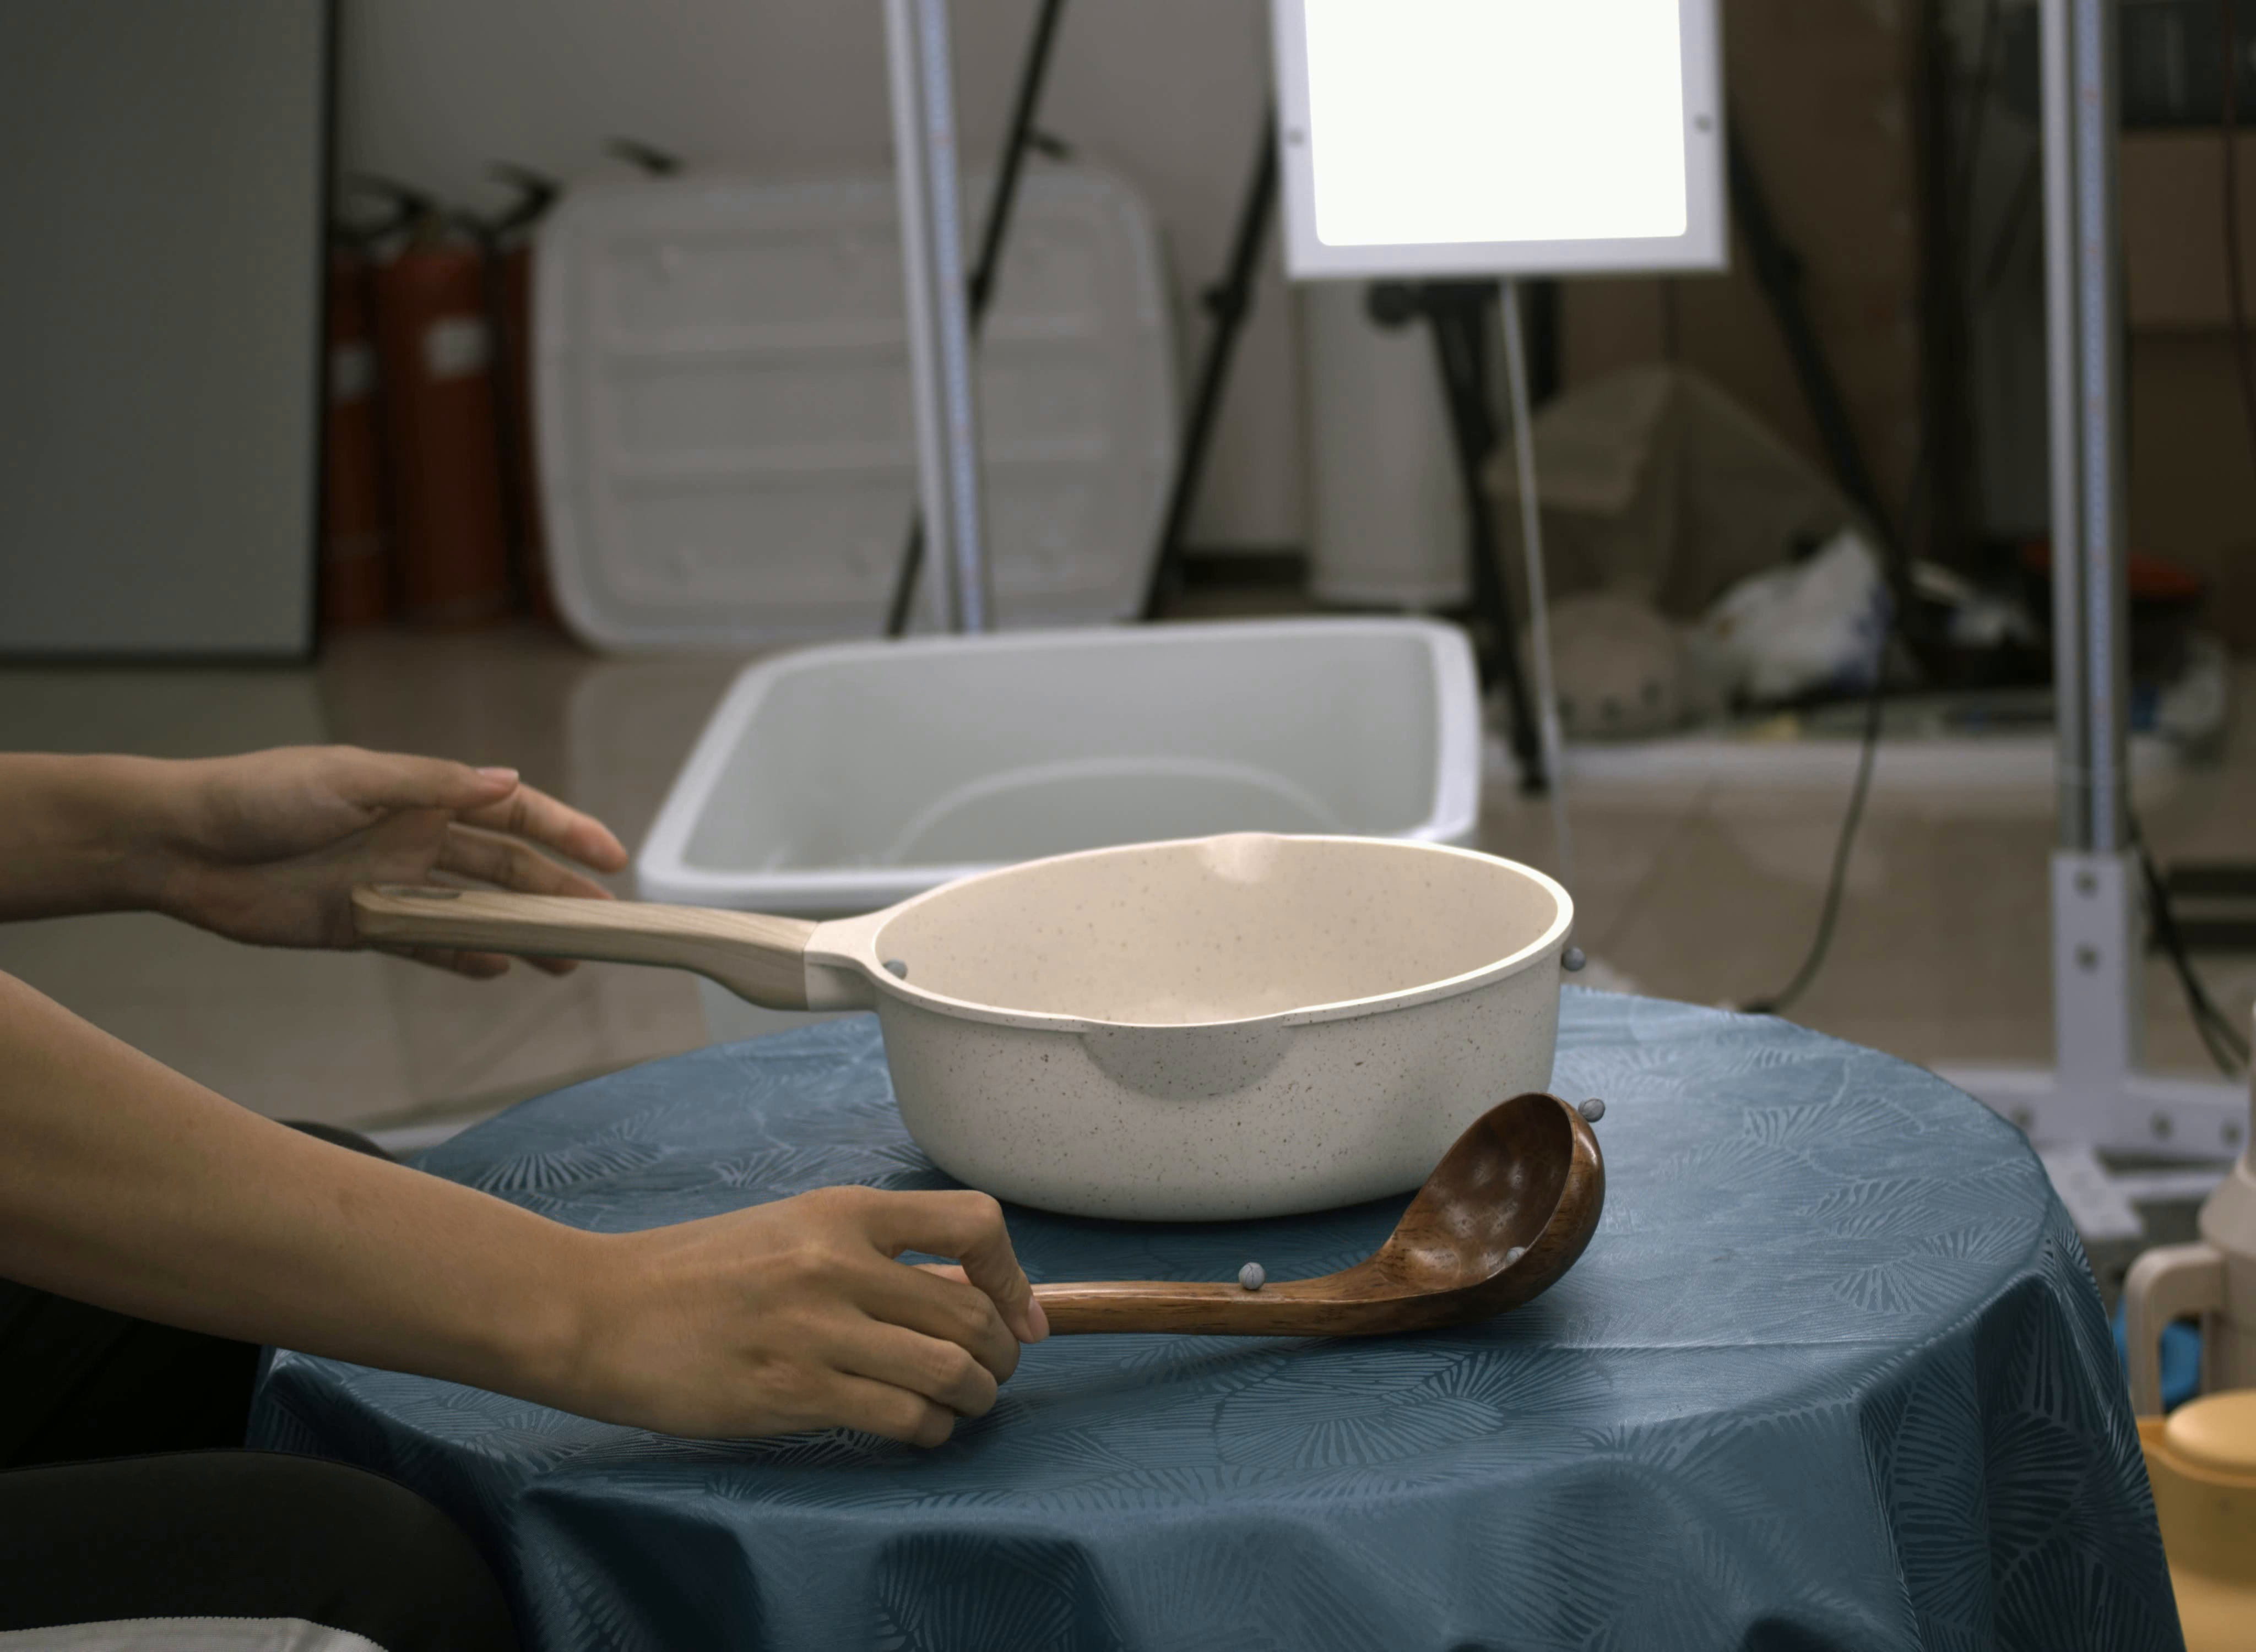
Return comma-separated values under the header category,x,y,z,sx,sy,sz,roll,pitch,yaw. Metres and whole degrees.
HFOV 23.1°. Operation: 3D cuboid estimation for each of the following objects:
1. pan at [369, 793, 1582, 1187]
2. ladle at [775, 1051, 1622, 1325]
category,x,y,z,sx,sy,sz,roll,pitch,yaw
pan,-0.053,0.057,1.967,0.437,0.102,0.261,-3,15,8
ladle,0.025,0.112,1.718,0.270,0.077,0.083,-1,9,-16
